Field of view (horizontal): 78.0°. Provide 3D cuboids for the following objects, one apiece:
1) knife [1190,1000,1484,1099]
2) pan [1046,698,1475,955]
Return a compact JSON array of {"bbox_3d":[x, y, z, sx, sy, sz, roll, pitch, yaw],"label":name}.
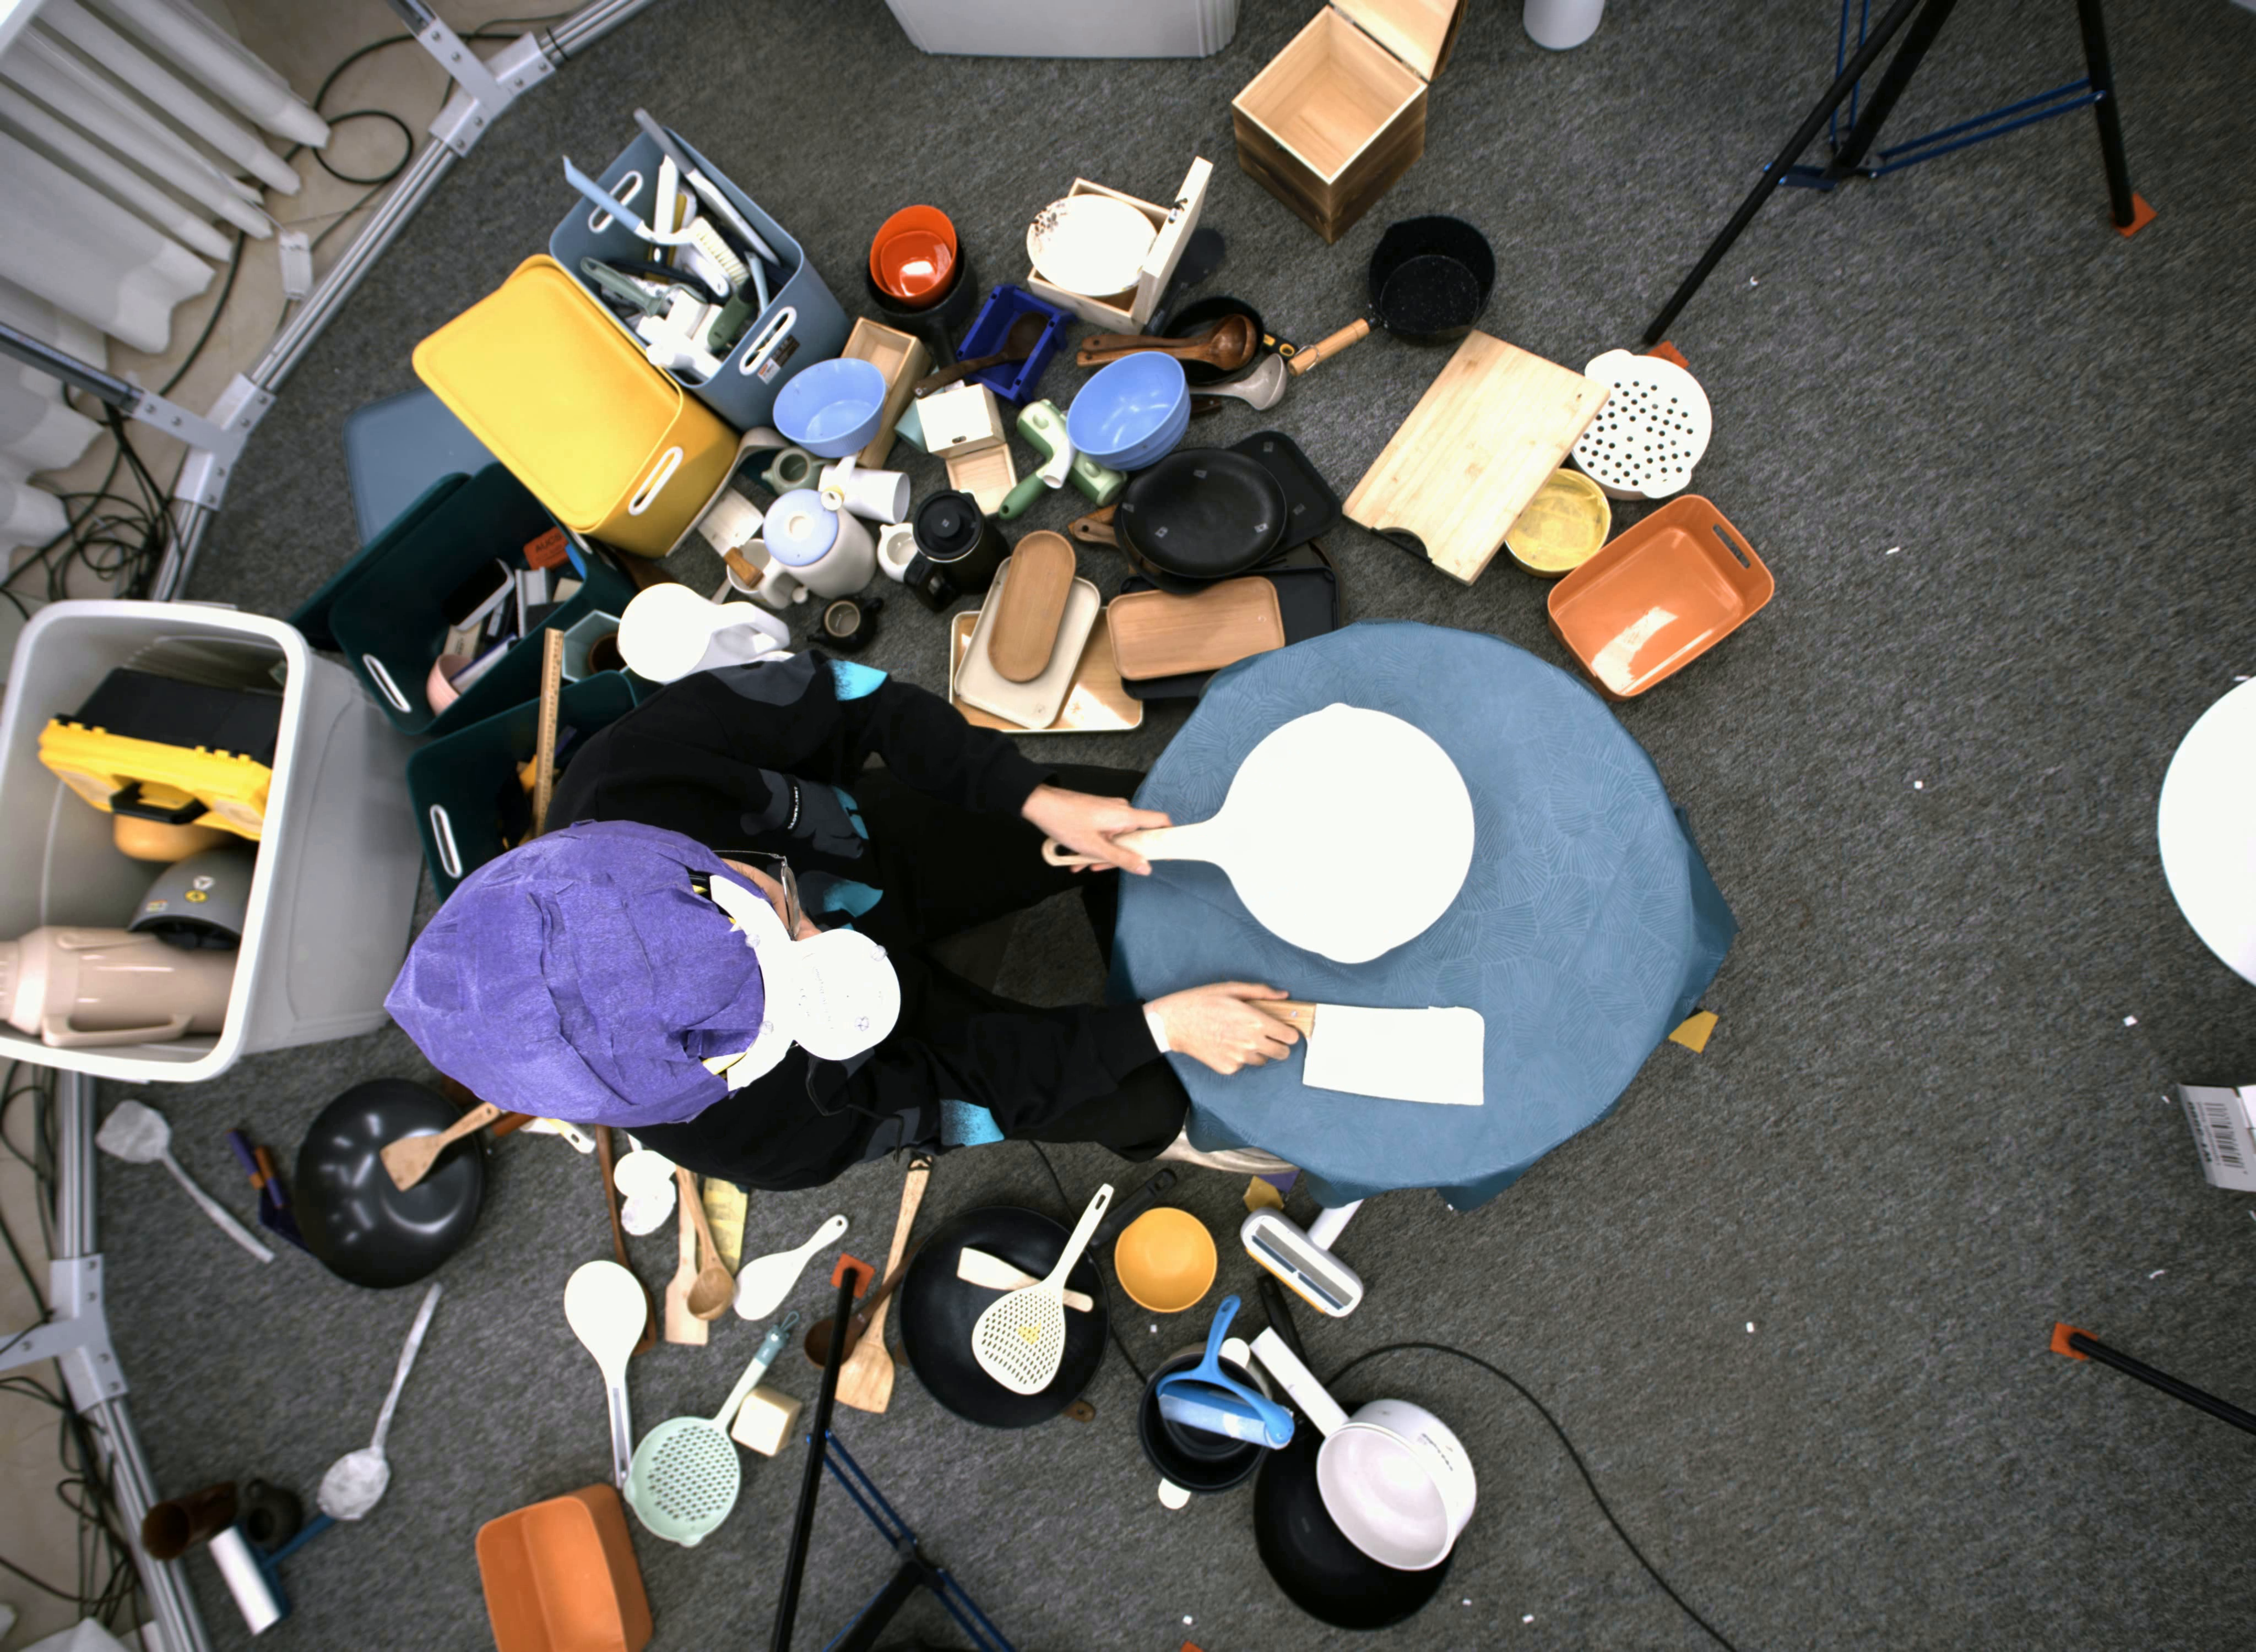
[{"bbox_3d":[0.220,0.219,1.452,0.316,0.022,0.114,9,89,8],"label":"knife"},{"bbox_3d":[0.137,0.010,1.438,0.437,0.102,0.262,-6,88,10],"label":"pan"}]
